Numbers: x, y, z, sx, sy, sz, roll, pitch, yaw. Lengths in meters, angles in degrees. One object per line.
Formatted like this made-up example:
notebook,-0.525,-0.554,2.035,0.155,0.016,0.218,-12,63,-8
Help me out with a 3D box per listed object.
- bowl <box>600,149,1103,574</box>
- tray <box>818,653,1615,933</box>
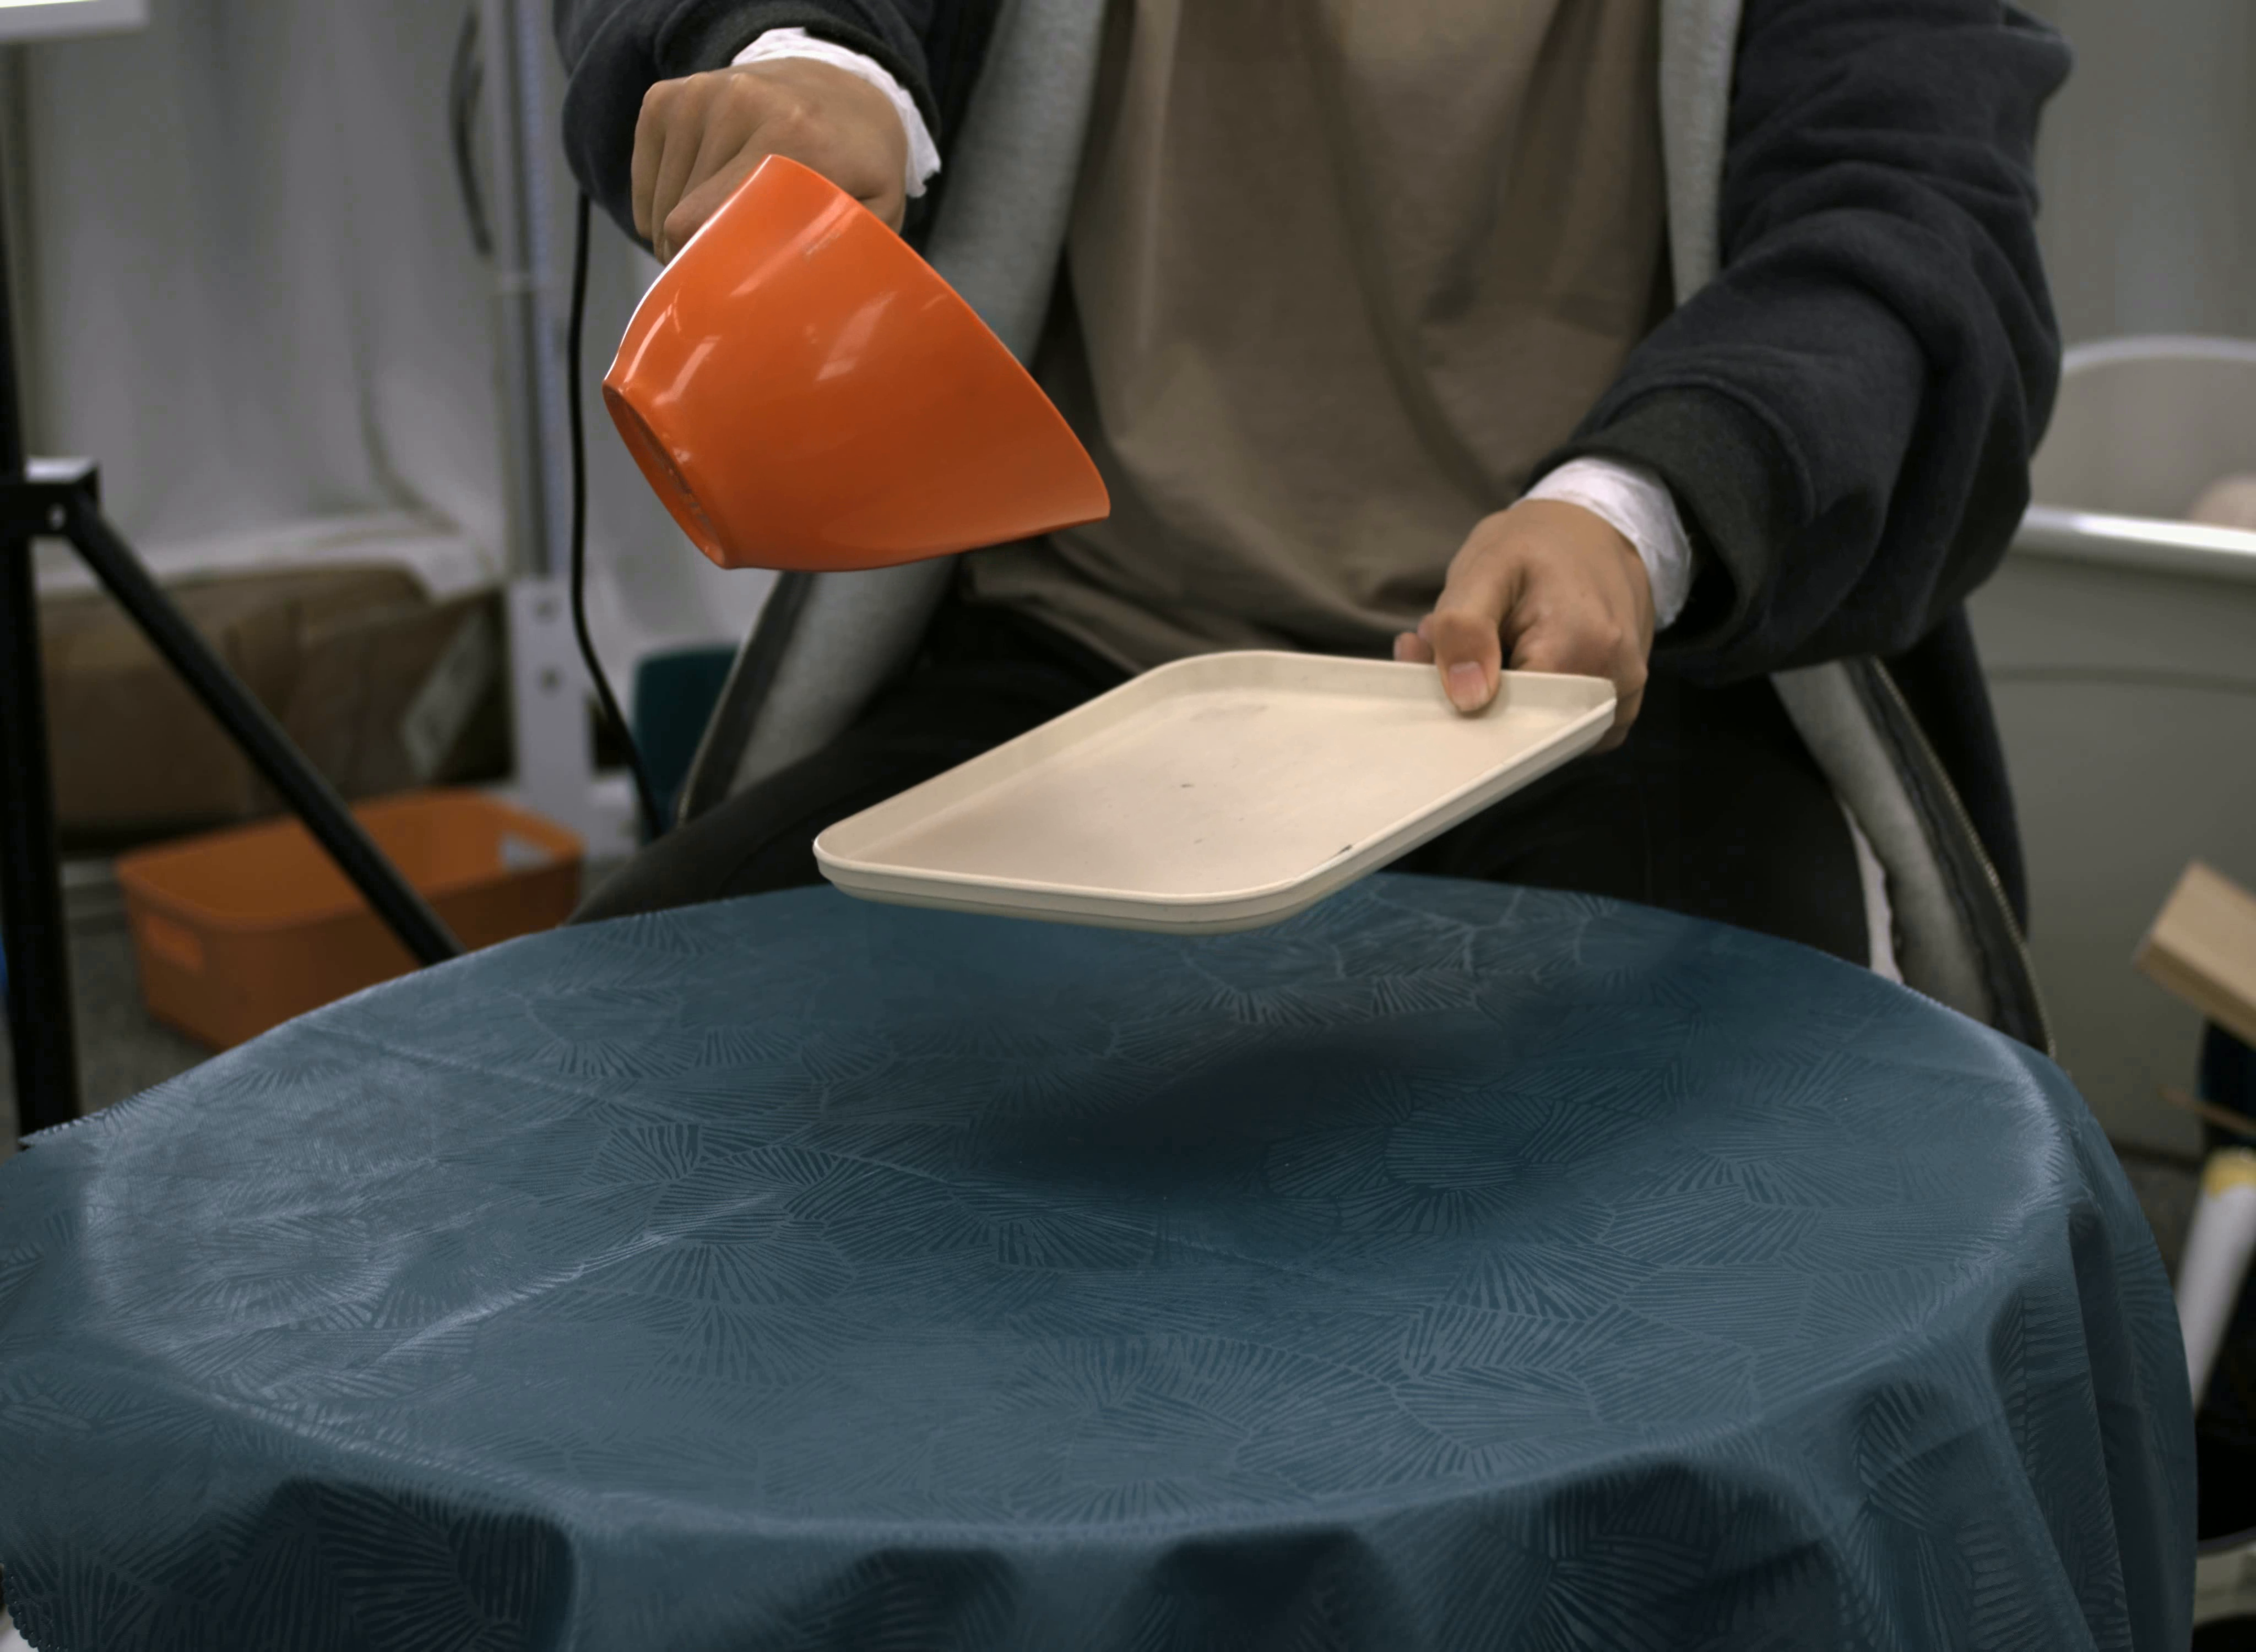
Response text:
bowl,-0.091,-0.123,1.595,0.104,0.146,0.150,-33,23,-9
tray,0.031,-0.011,1.624,0.174,0.017,0.235,5,19,35
